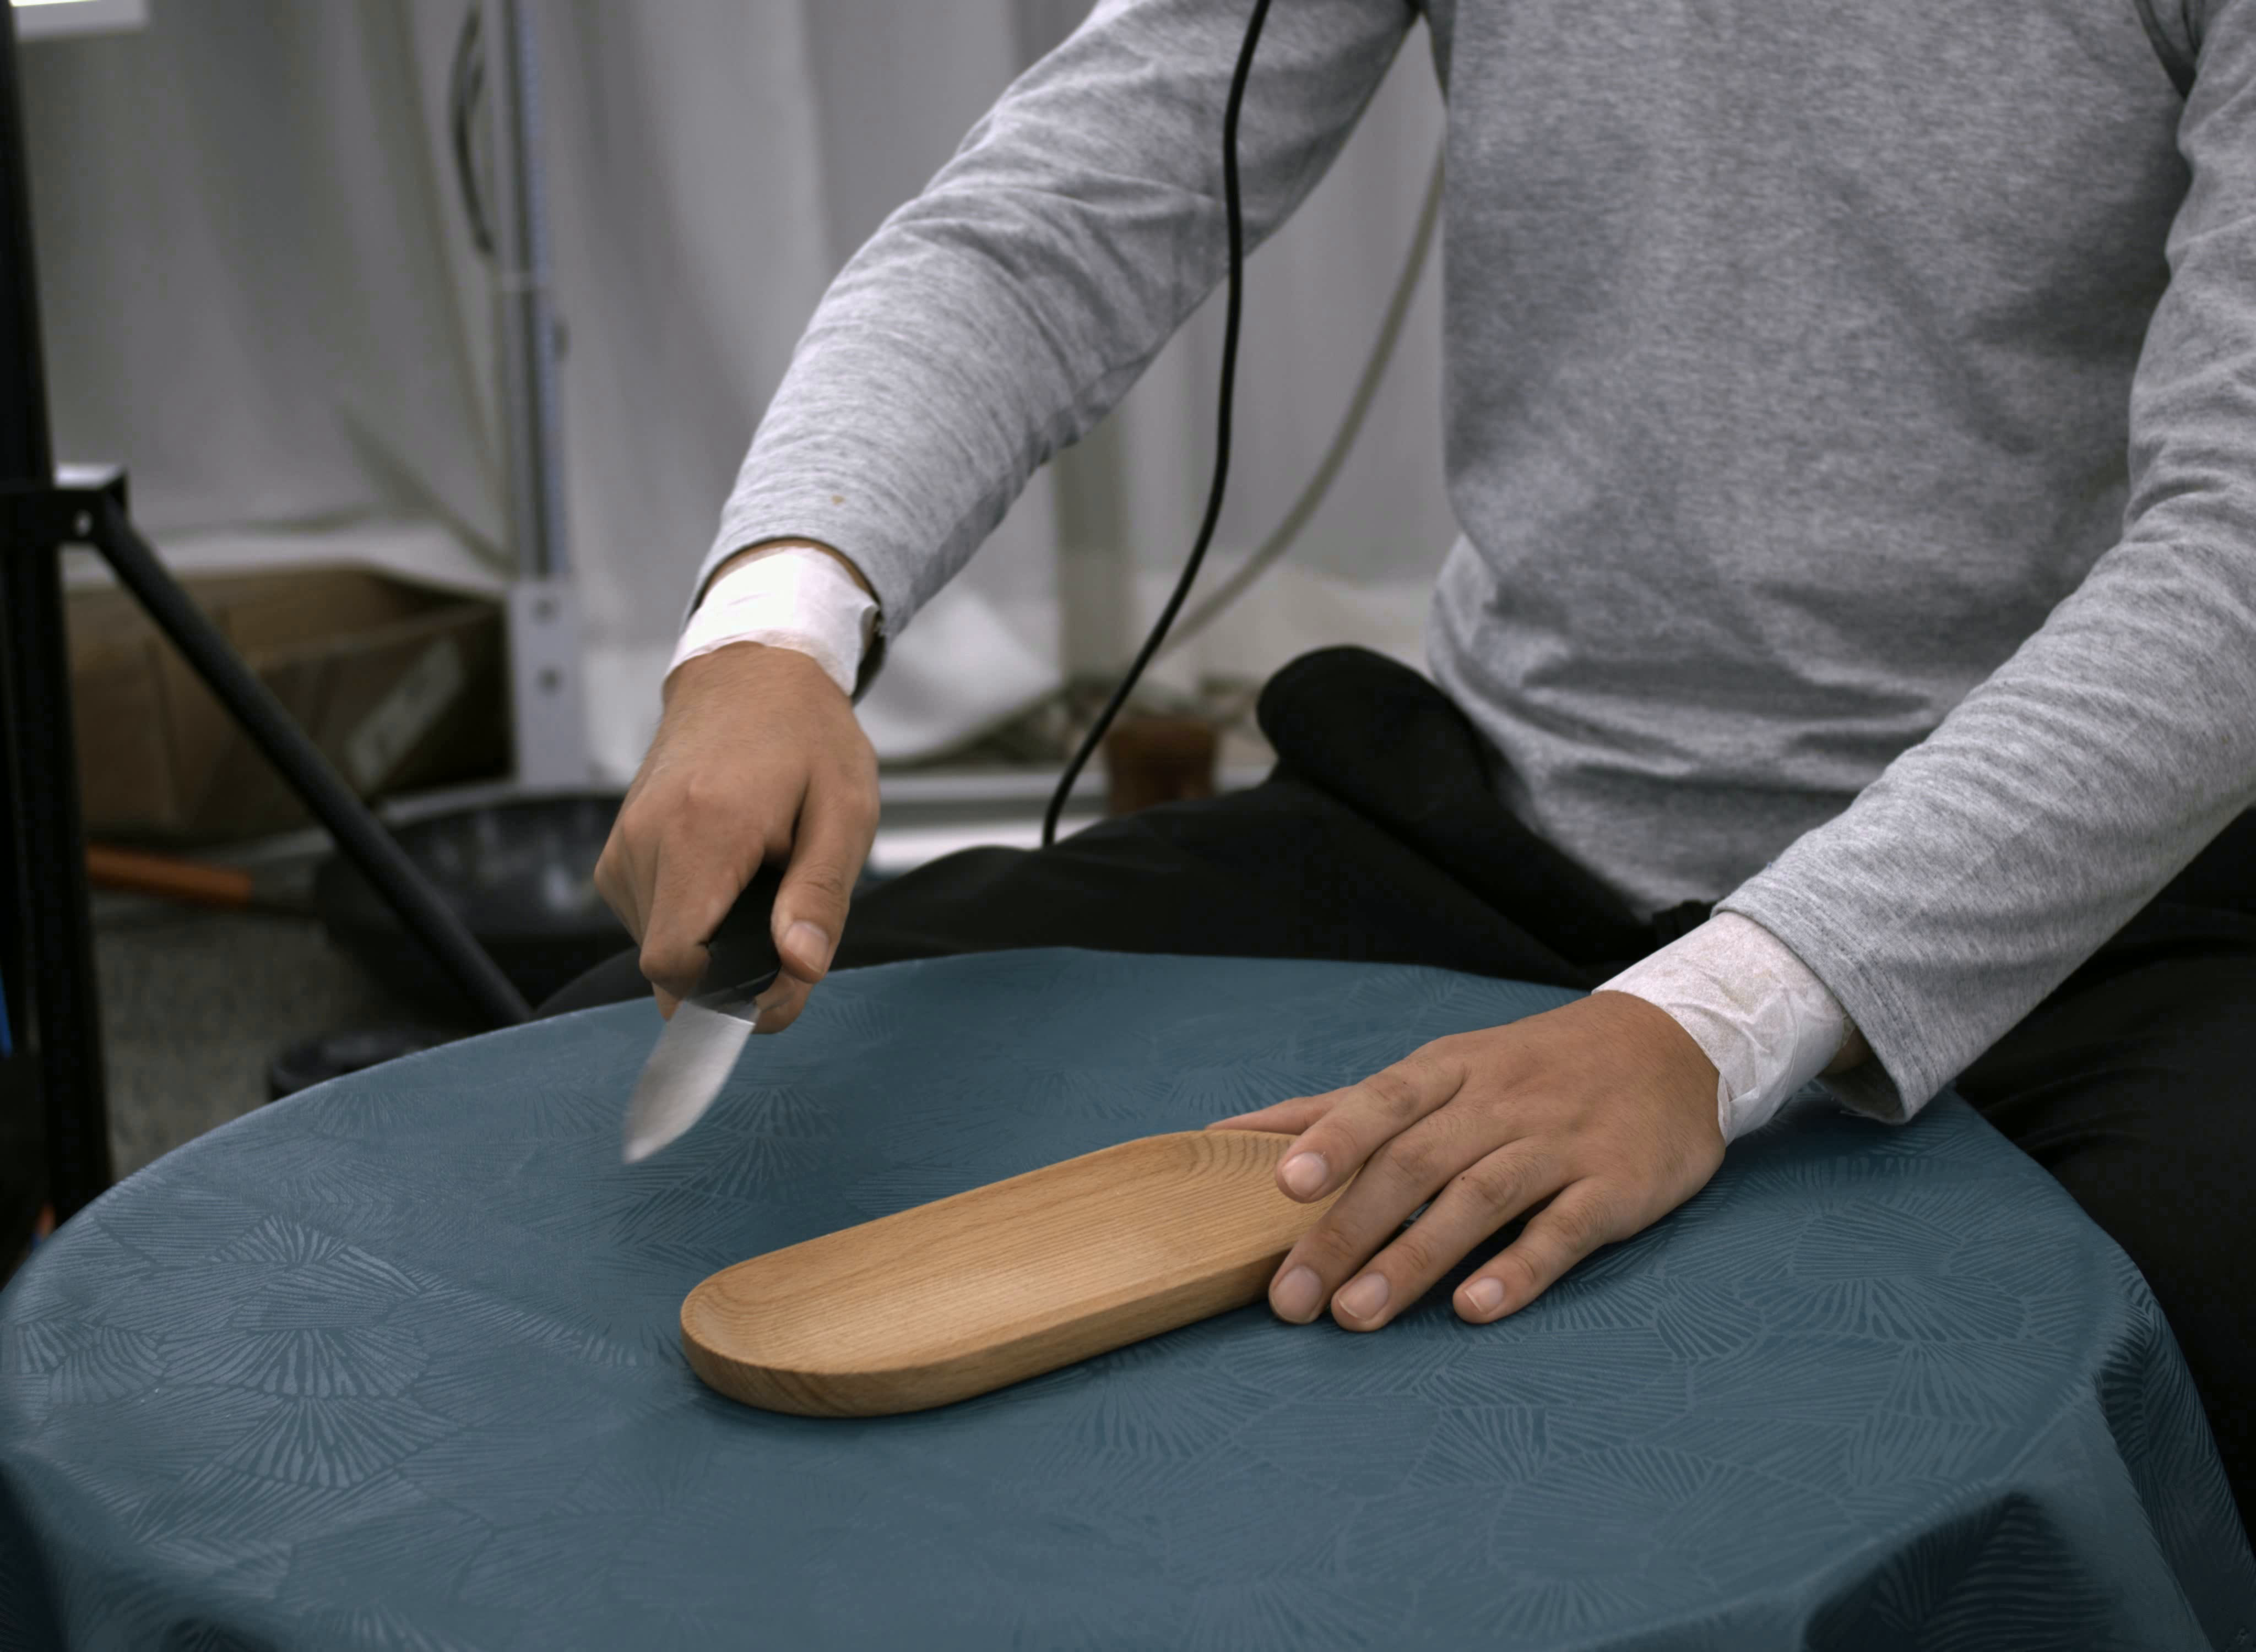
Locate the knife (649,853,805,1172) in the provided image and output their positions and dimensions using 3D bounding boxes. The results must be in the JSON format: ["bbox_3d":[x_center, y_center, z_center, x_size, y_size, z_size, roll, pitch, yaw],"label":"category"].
[{"bbox_3d":[-0.116,0.051,1.512,0.024,0.016,0.238,20,19,-3],"label":"knife"}]

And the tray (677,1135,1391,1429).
[{"bbox_3d":[-0.023,0.125,1.477,0.226,0.020,0.104,-17,20,-38],"label":"tray"}]
